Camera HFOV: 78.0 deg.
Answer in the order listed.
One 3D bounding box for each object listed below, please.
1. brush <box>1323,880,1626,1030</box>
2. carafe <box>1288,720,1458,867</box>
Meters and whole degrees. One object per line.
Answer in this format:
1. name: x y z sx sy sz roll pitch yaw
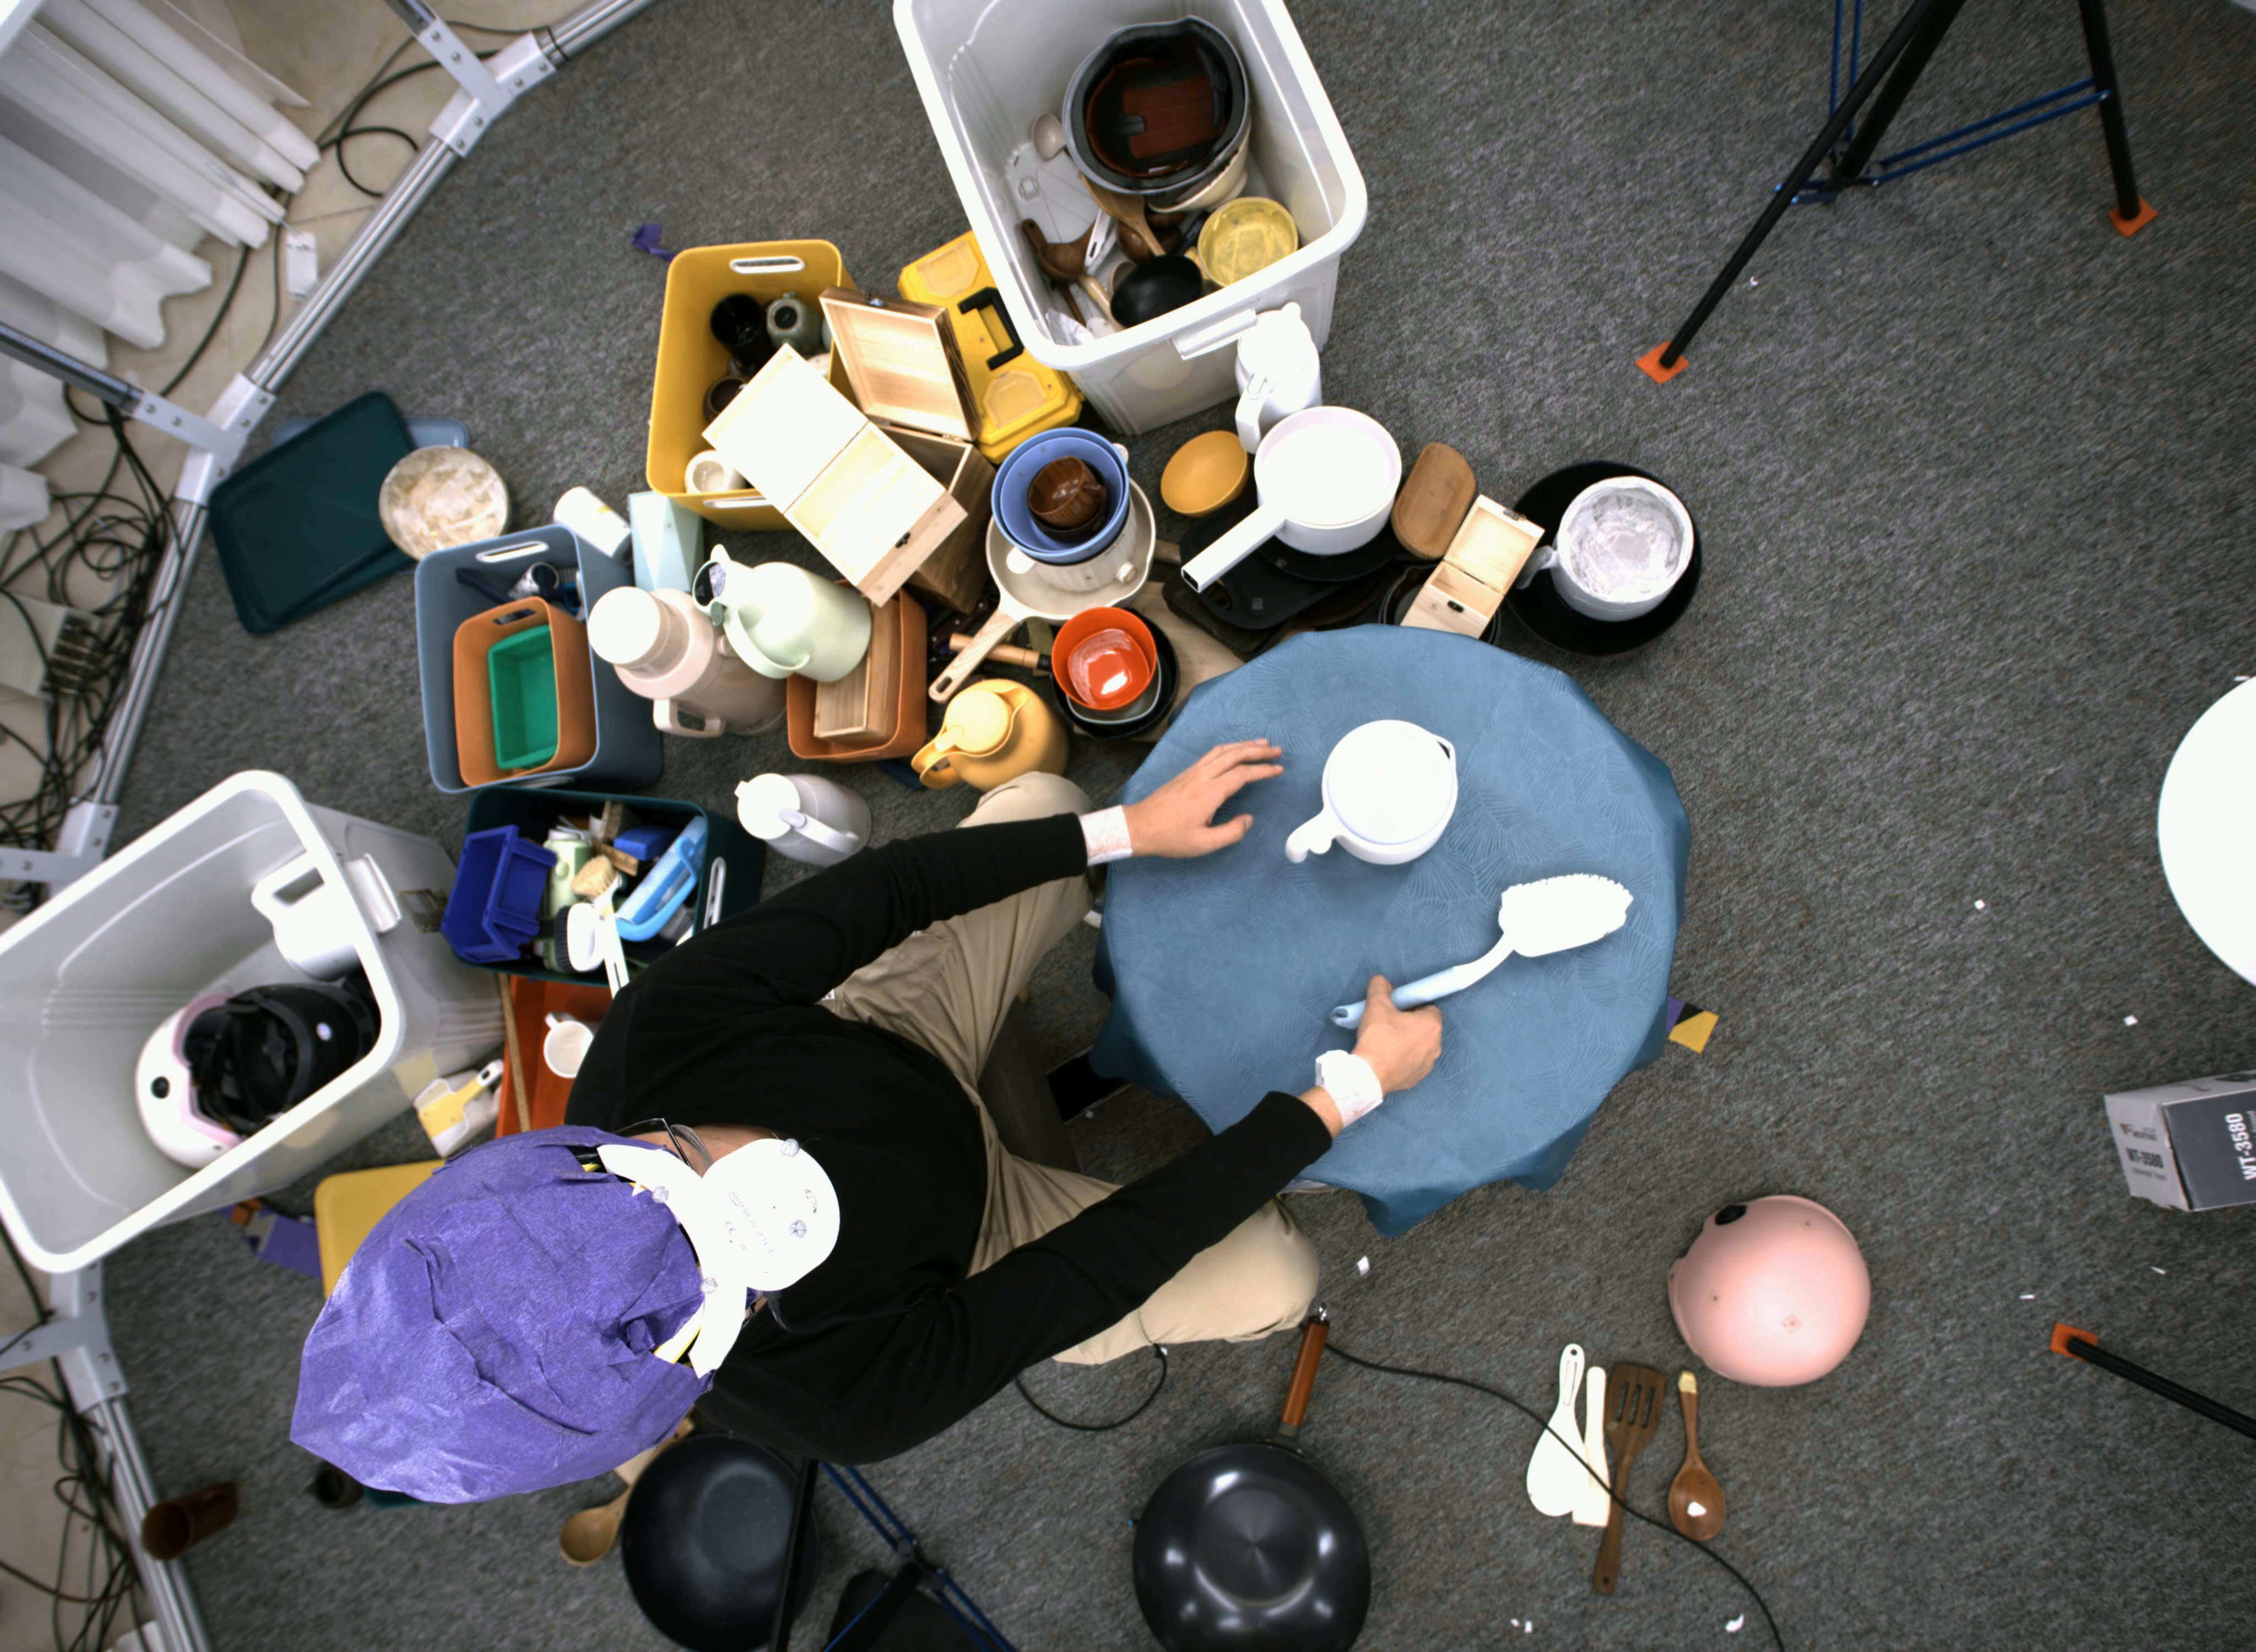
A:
1. brush: 0.347 0.123 1.394 0.326 0.082 0.085 -20 94 4
2. carafe: 0.240 -0.020 1.384 0.192 0.182 0.131 -33 80 7
